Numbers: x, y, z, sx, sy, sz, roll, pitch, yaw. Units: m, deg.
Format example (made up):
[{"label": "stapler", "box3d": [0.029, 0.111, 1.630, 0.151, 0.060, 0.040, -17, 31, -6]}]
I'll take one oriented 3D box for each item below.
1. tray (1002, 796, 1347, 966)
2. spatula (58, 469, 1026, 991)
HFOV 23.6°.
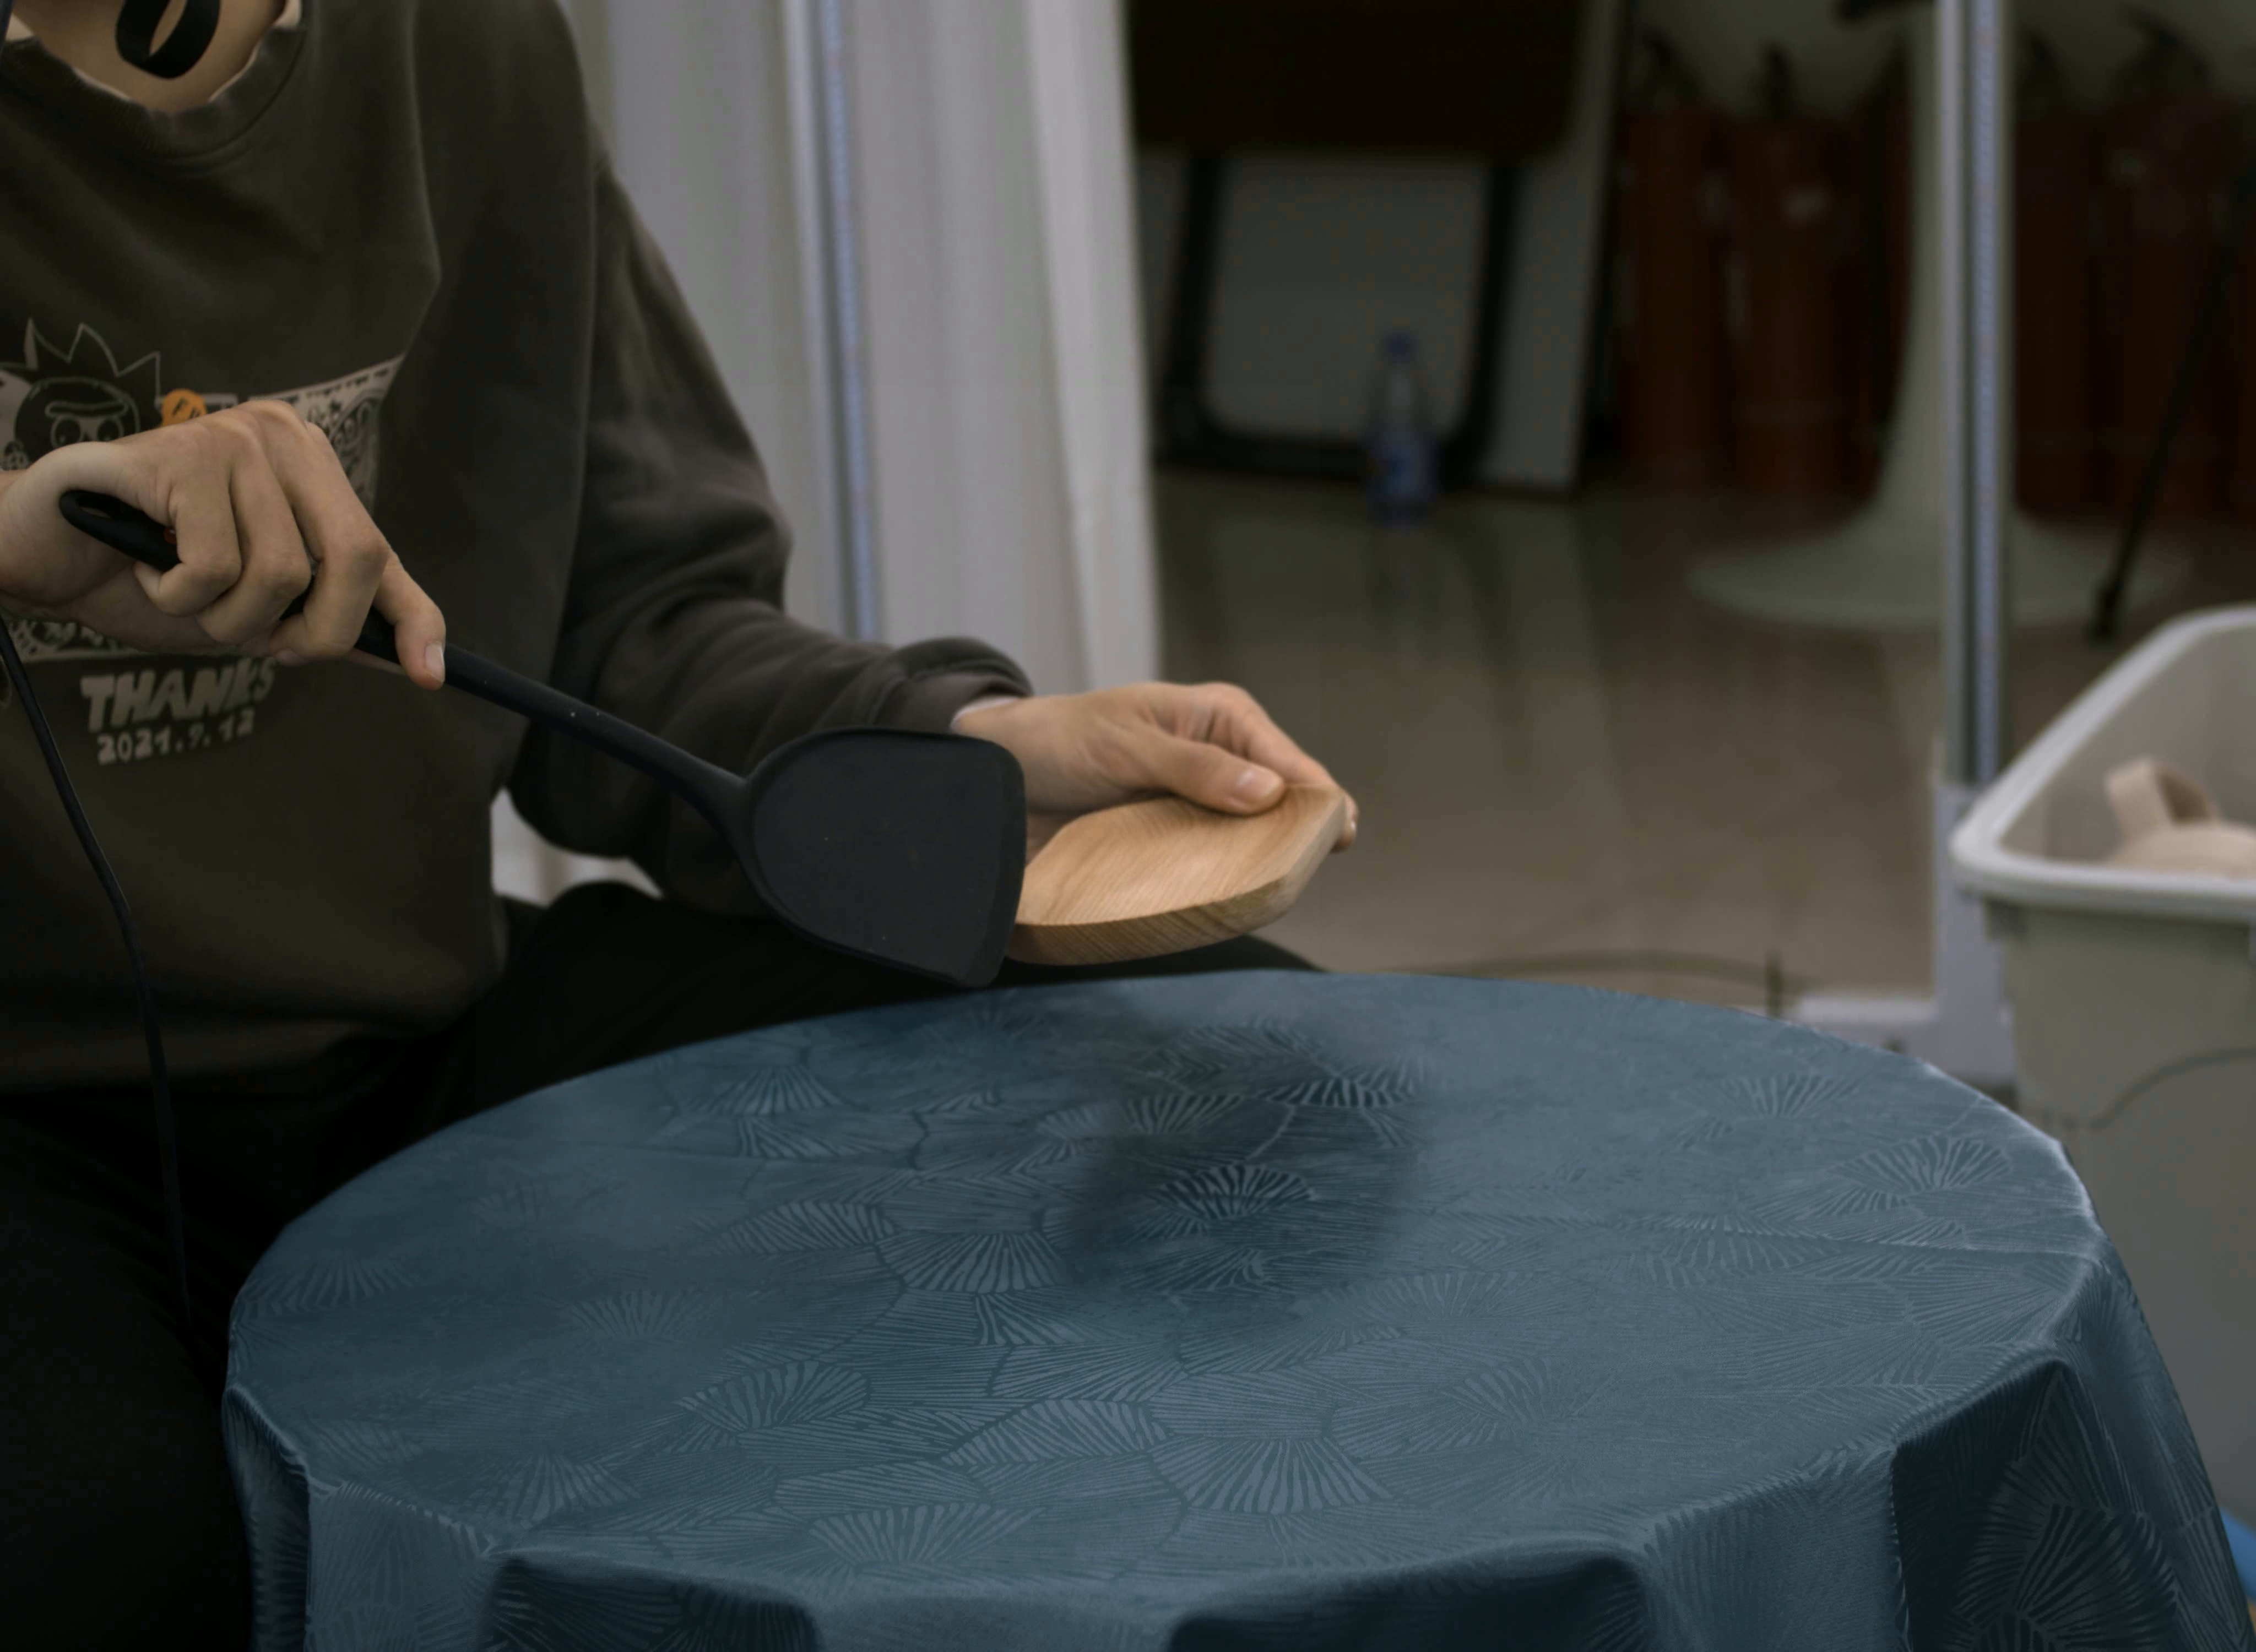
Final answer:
[{"label": "tray", "box3d": [0.016, 0.017, 1.798, 0.101, 0.020, 0.230, -9, 9, 11]}, {"label": "spatula", "box3d": [-0.177, -0.042, 1.668, 0.320, 0.041, 0.100, 27, 46, -21]}]
